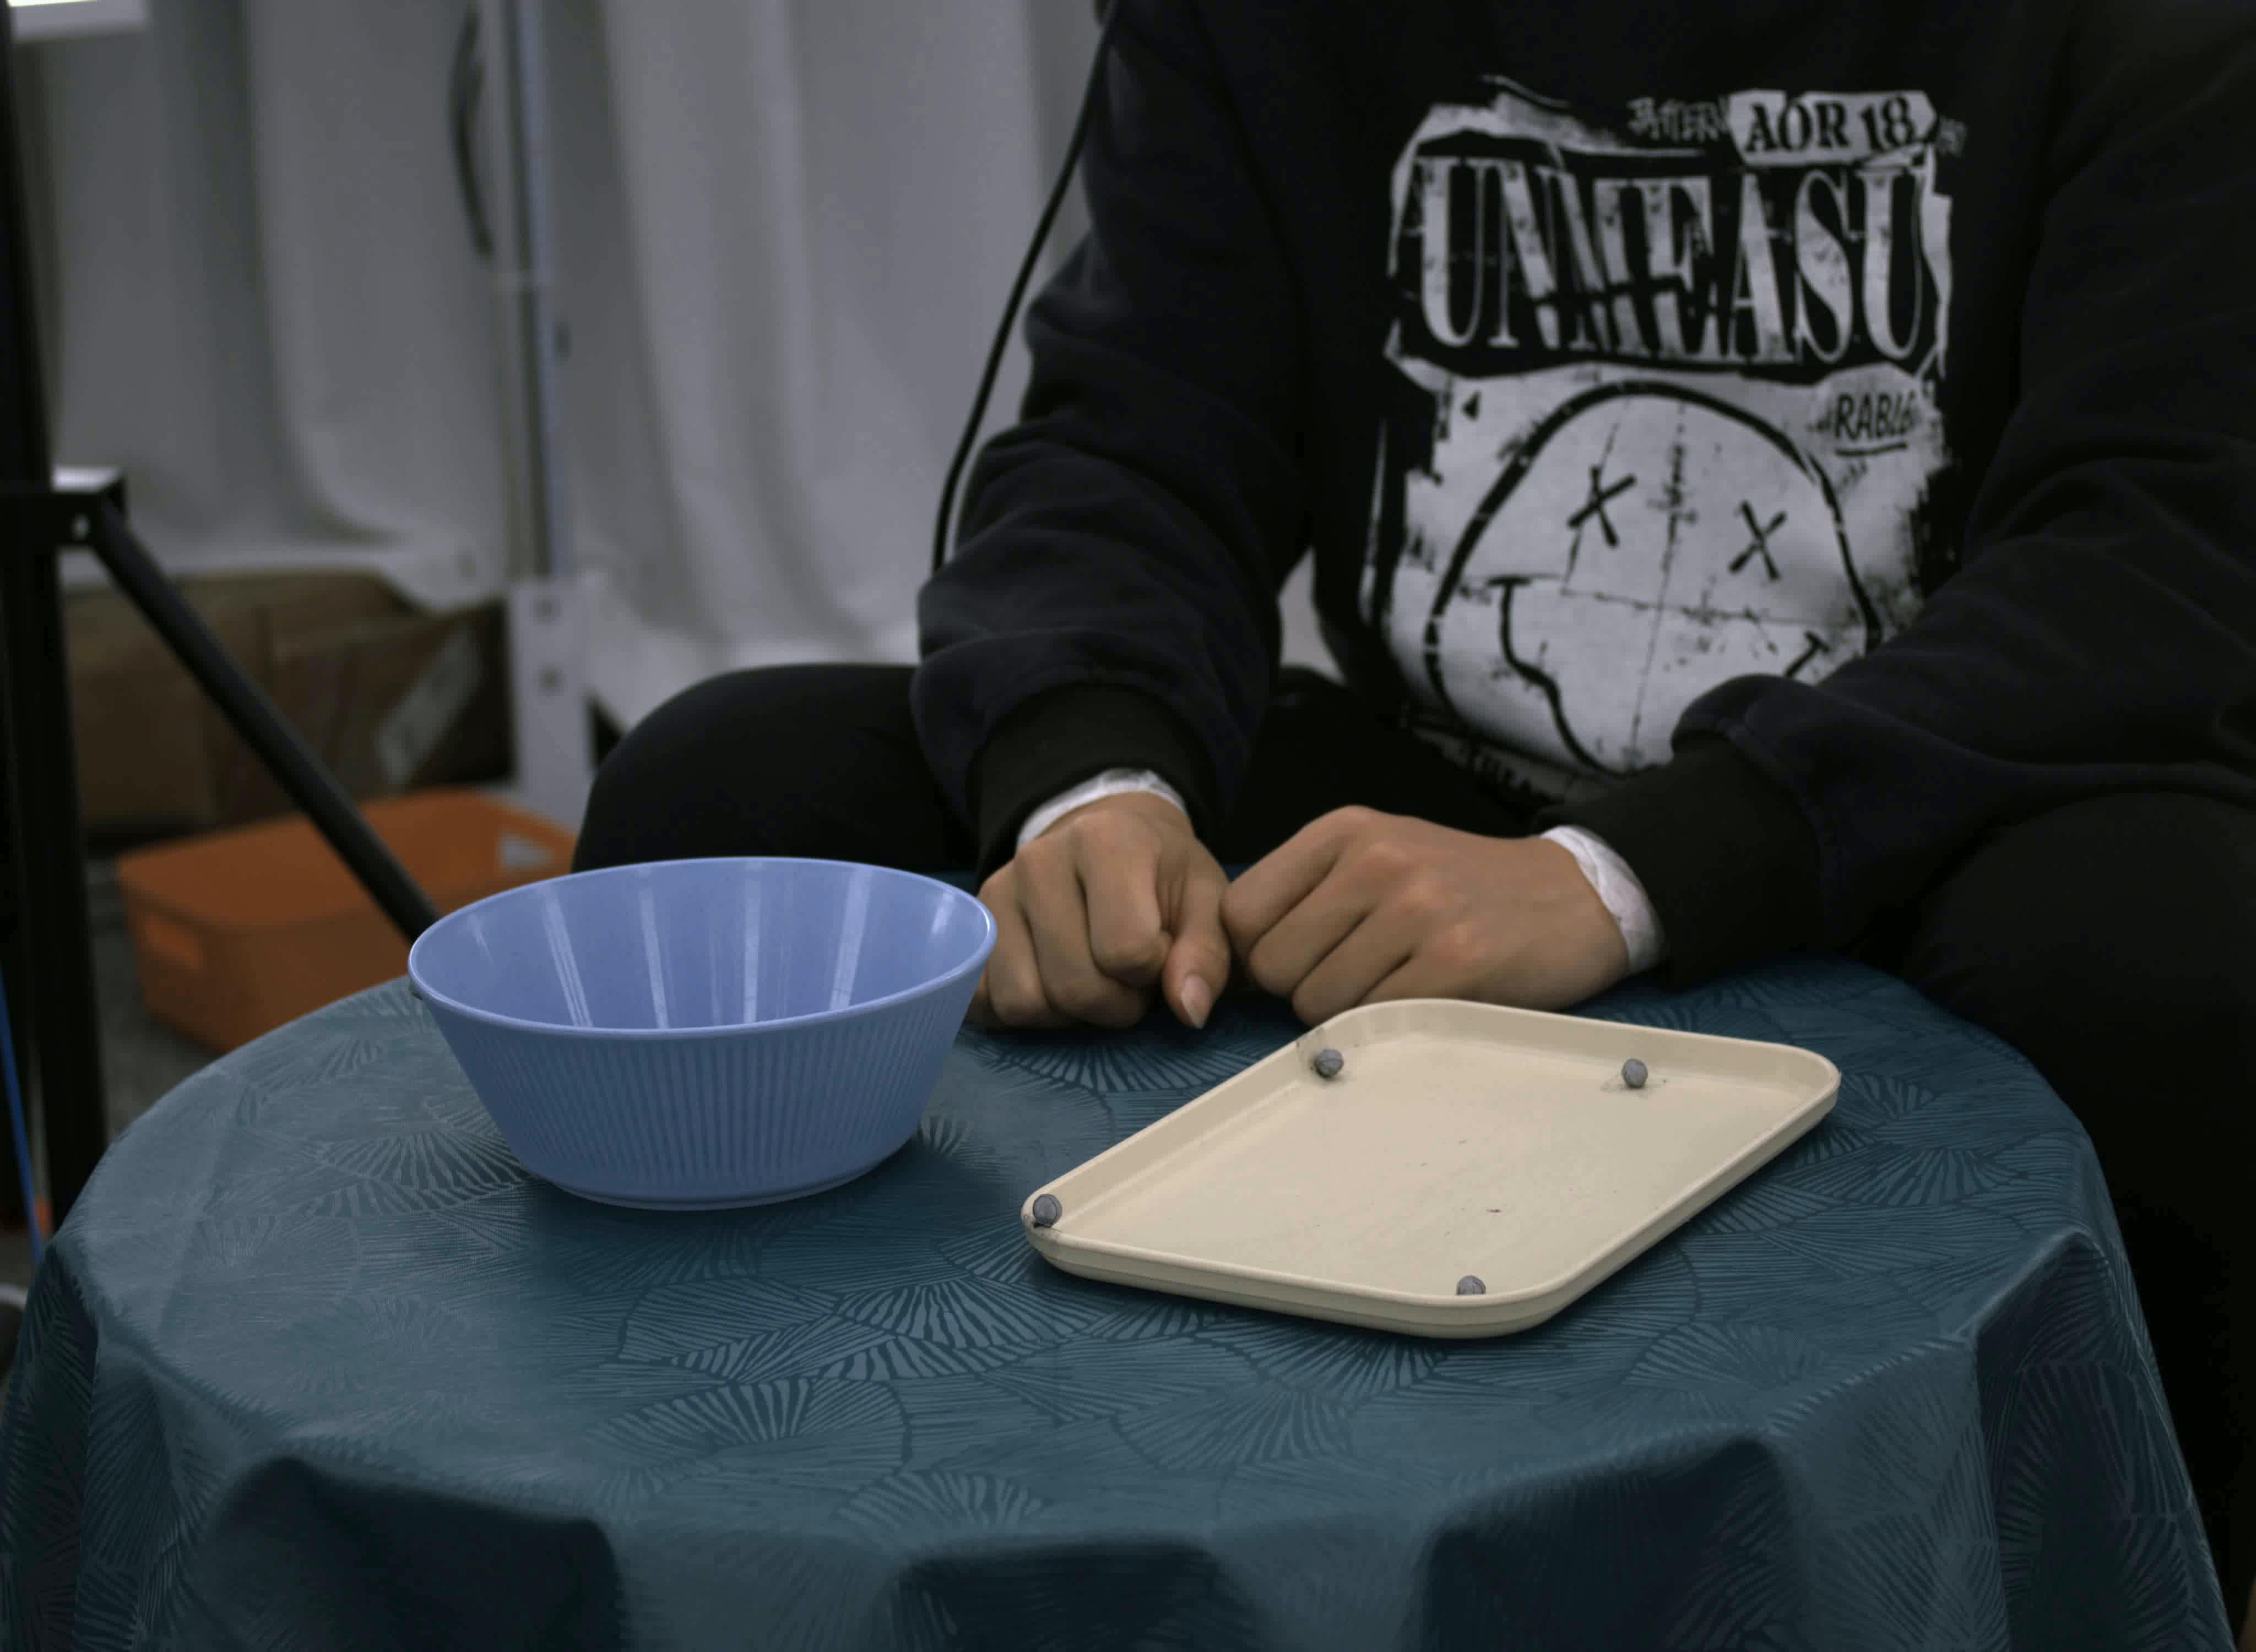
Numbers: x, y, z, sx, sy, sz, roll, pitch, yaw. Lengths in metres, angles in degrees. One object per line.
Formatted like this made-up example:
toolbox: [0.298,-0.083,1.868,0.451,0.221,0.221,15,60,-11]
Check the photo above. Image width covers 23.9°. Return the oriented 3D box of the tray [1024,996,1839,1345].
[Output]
tray: [0.092,0.099,1.543,0.174,0.017,0.235,8,19,31]

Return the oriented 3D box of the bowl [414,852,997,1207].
bowl: [-0.125,0.064,1.605,0.175,0.070,0.177,-3,17,-1]
